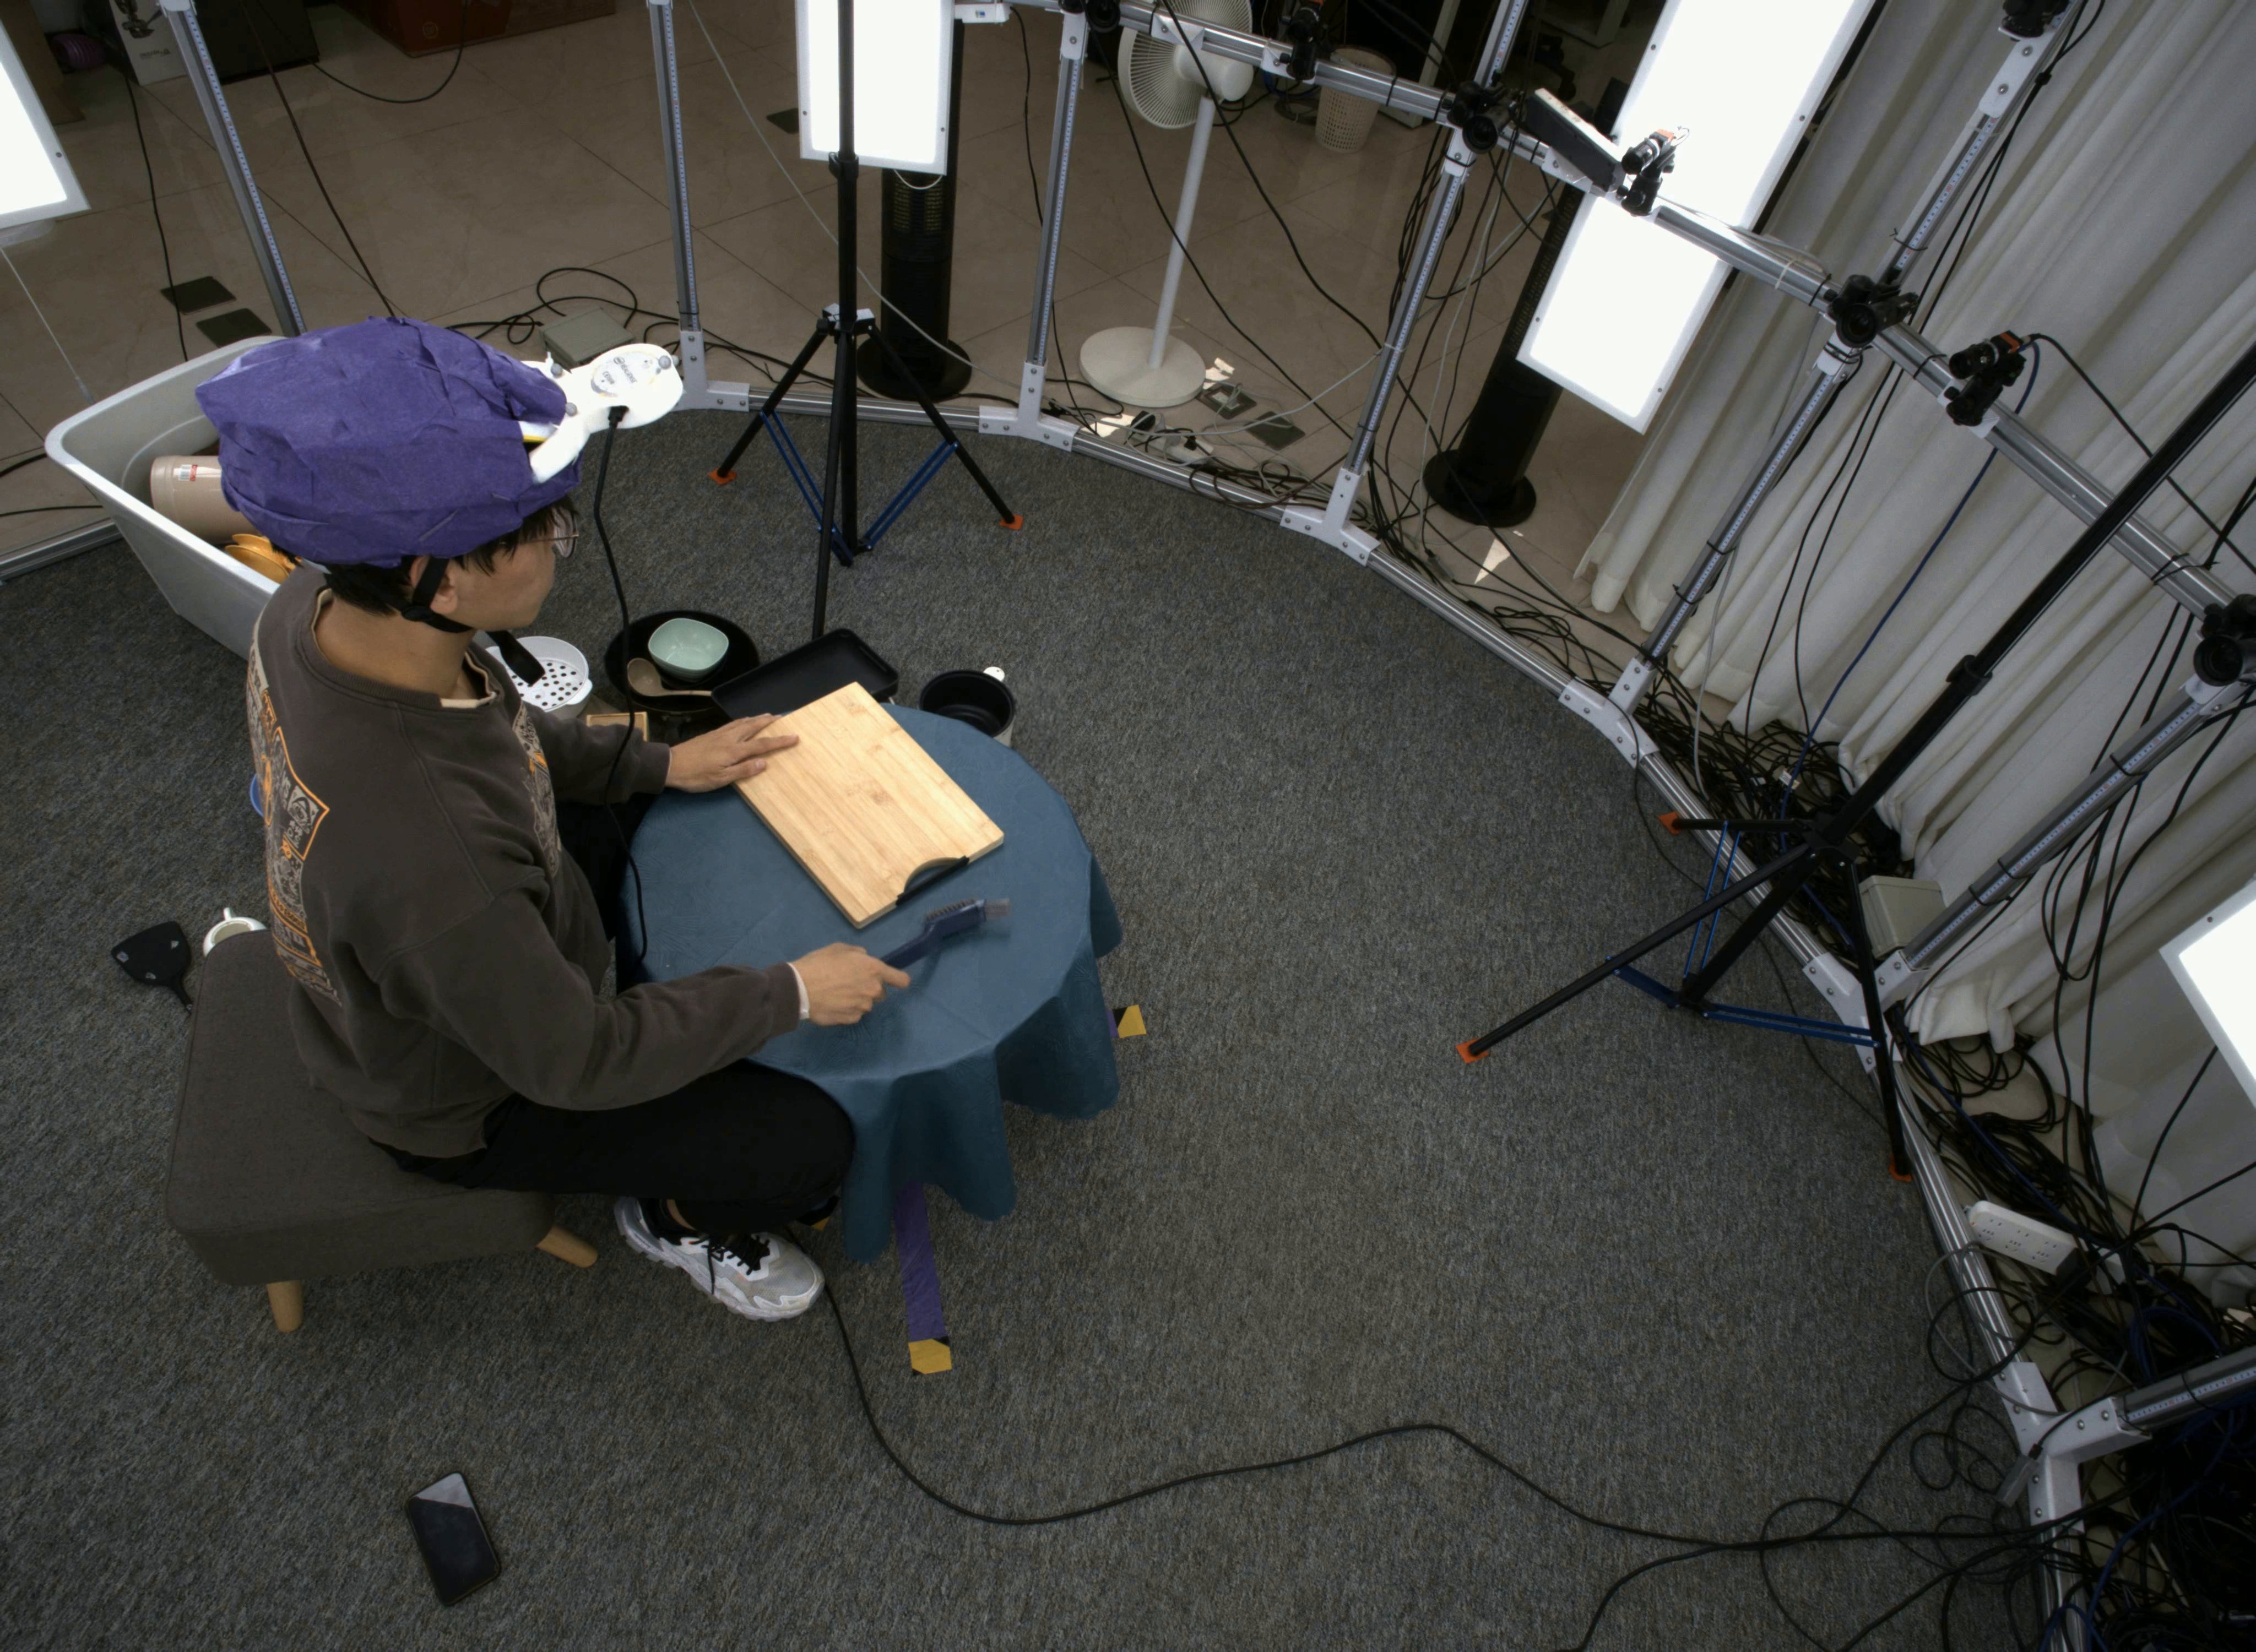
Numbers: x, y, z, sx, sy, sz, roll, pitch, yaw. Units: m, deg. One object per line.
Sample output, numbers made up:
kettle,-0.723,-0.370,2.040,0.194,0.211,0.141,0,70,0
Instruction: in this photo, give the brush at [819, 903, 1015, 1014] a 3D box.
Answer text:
brush,-0.259,0.157,1.604,0.092,0.034,0.274,17,34,31

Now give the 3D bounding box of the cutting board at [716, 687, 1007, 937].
cutting board,-0.363,-0.033,1.767,0.251,0.024,0.341,-35,68,-31
